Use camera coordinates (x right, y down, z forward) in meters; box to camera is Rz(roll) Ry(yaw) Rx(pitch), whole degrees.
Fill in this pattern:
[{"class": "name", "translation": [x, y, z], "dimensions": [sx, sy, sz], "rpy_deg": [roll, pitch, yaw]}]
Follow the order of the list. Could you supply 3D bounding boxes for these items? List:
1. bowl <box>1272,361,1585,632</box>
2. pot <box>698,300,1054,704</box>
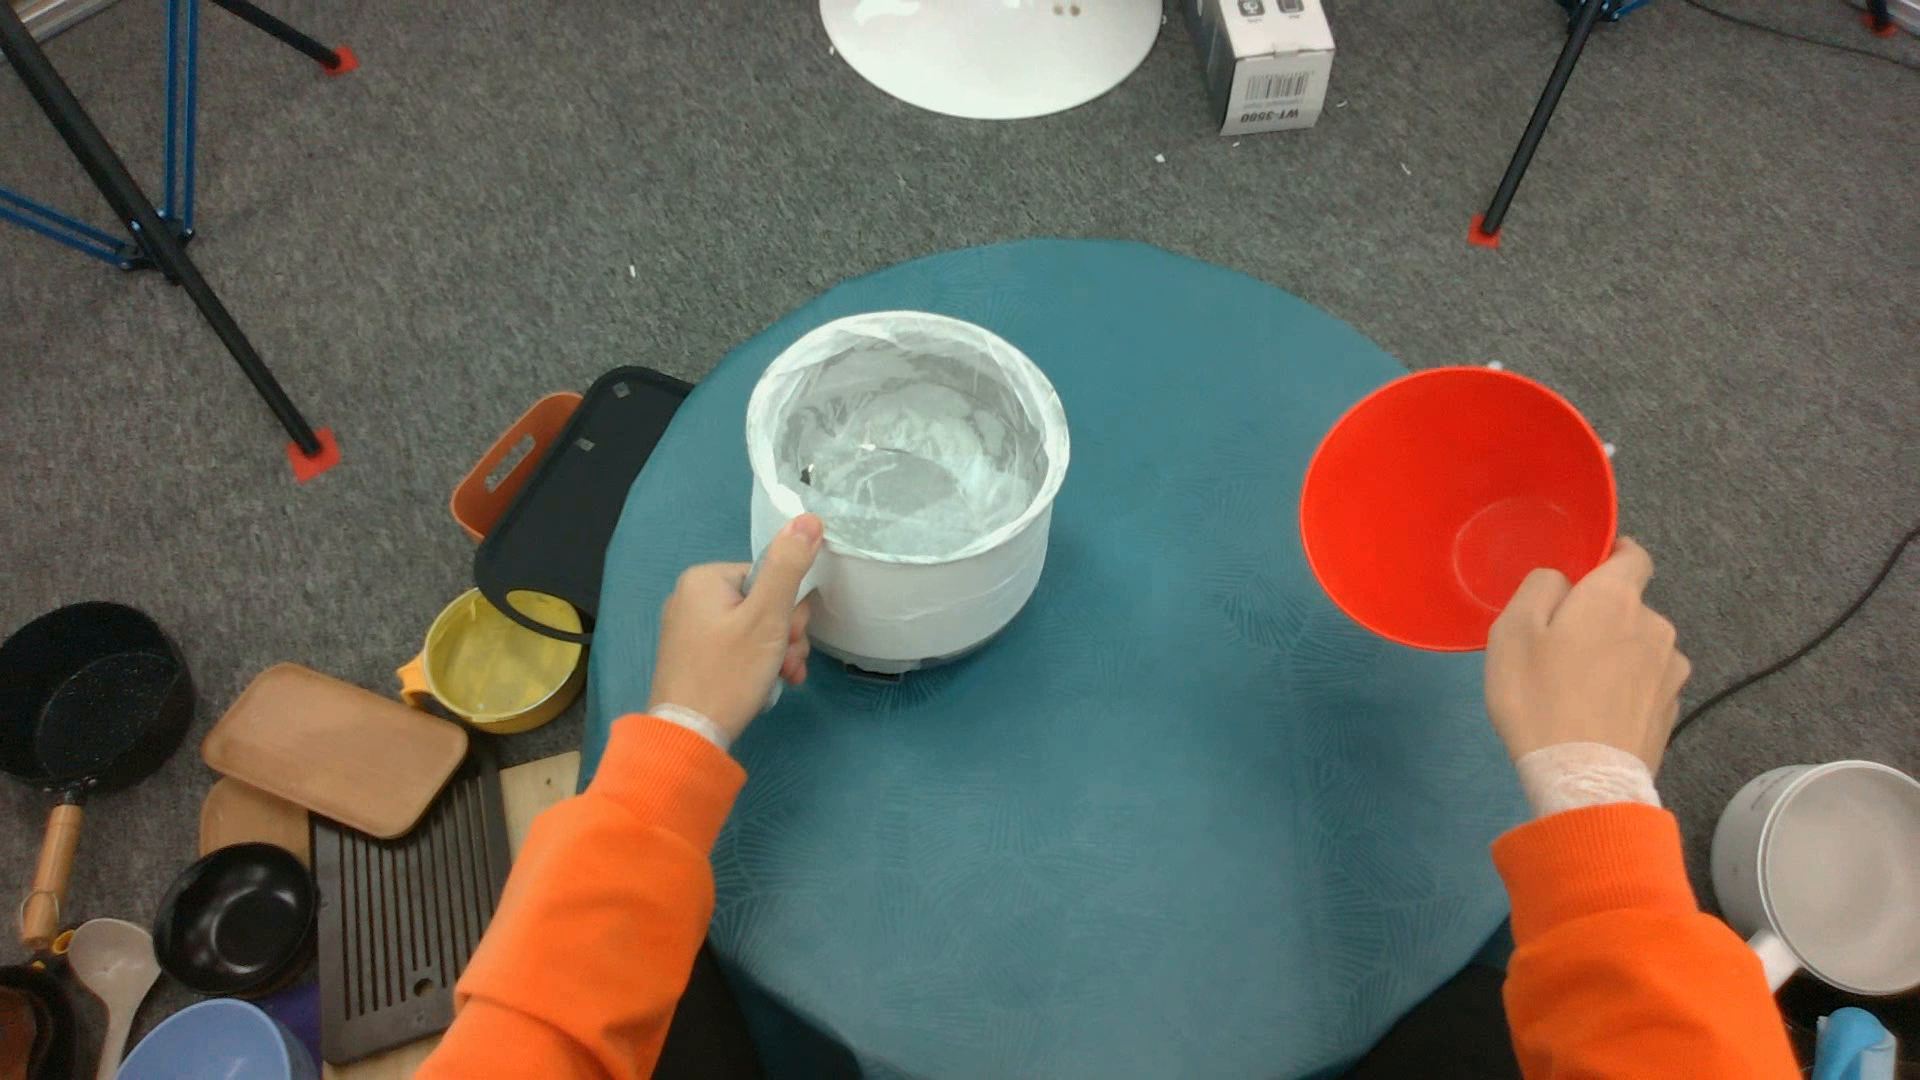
[{"class": "bowl", "translation": [0.251, -0.009, 0.715], "dimensions": [0.147, 0.104, 0.148], "rpy_deg": [-19, 49, 23]}, {"class": "pot", "translation": [-0.059, -0.012, 0.779], "dimensions": [0.179, 0.136, 0.235], "rpy_deg": [32, 57, 15]}]
